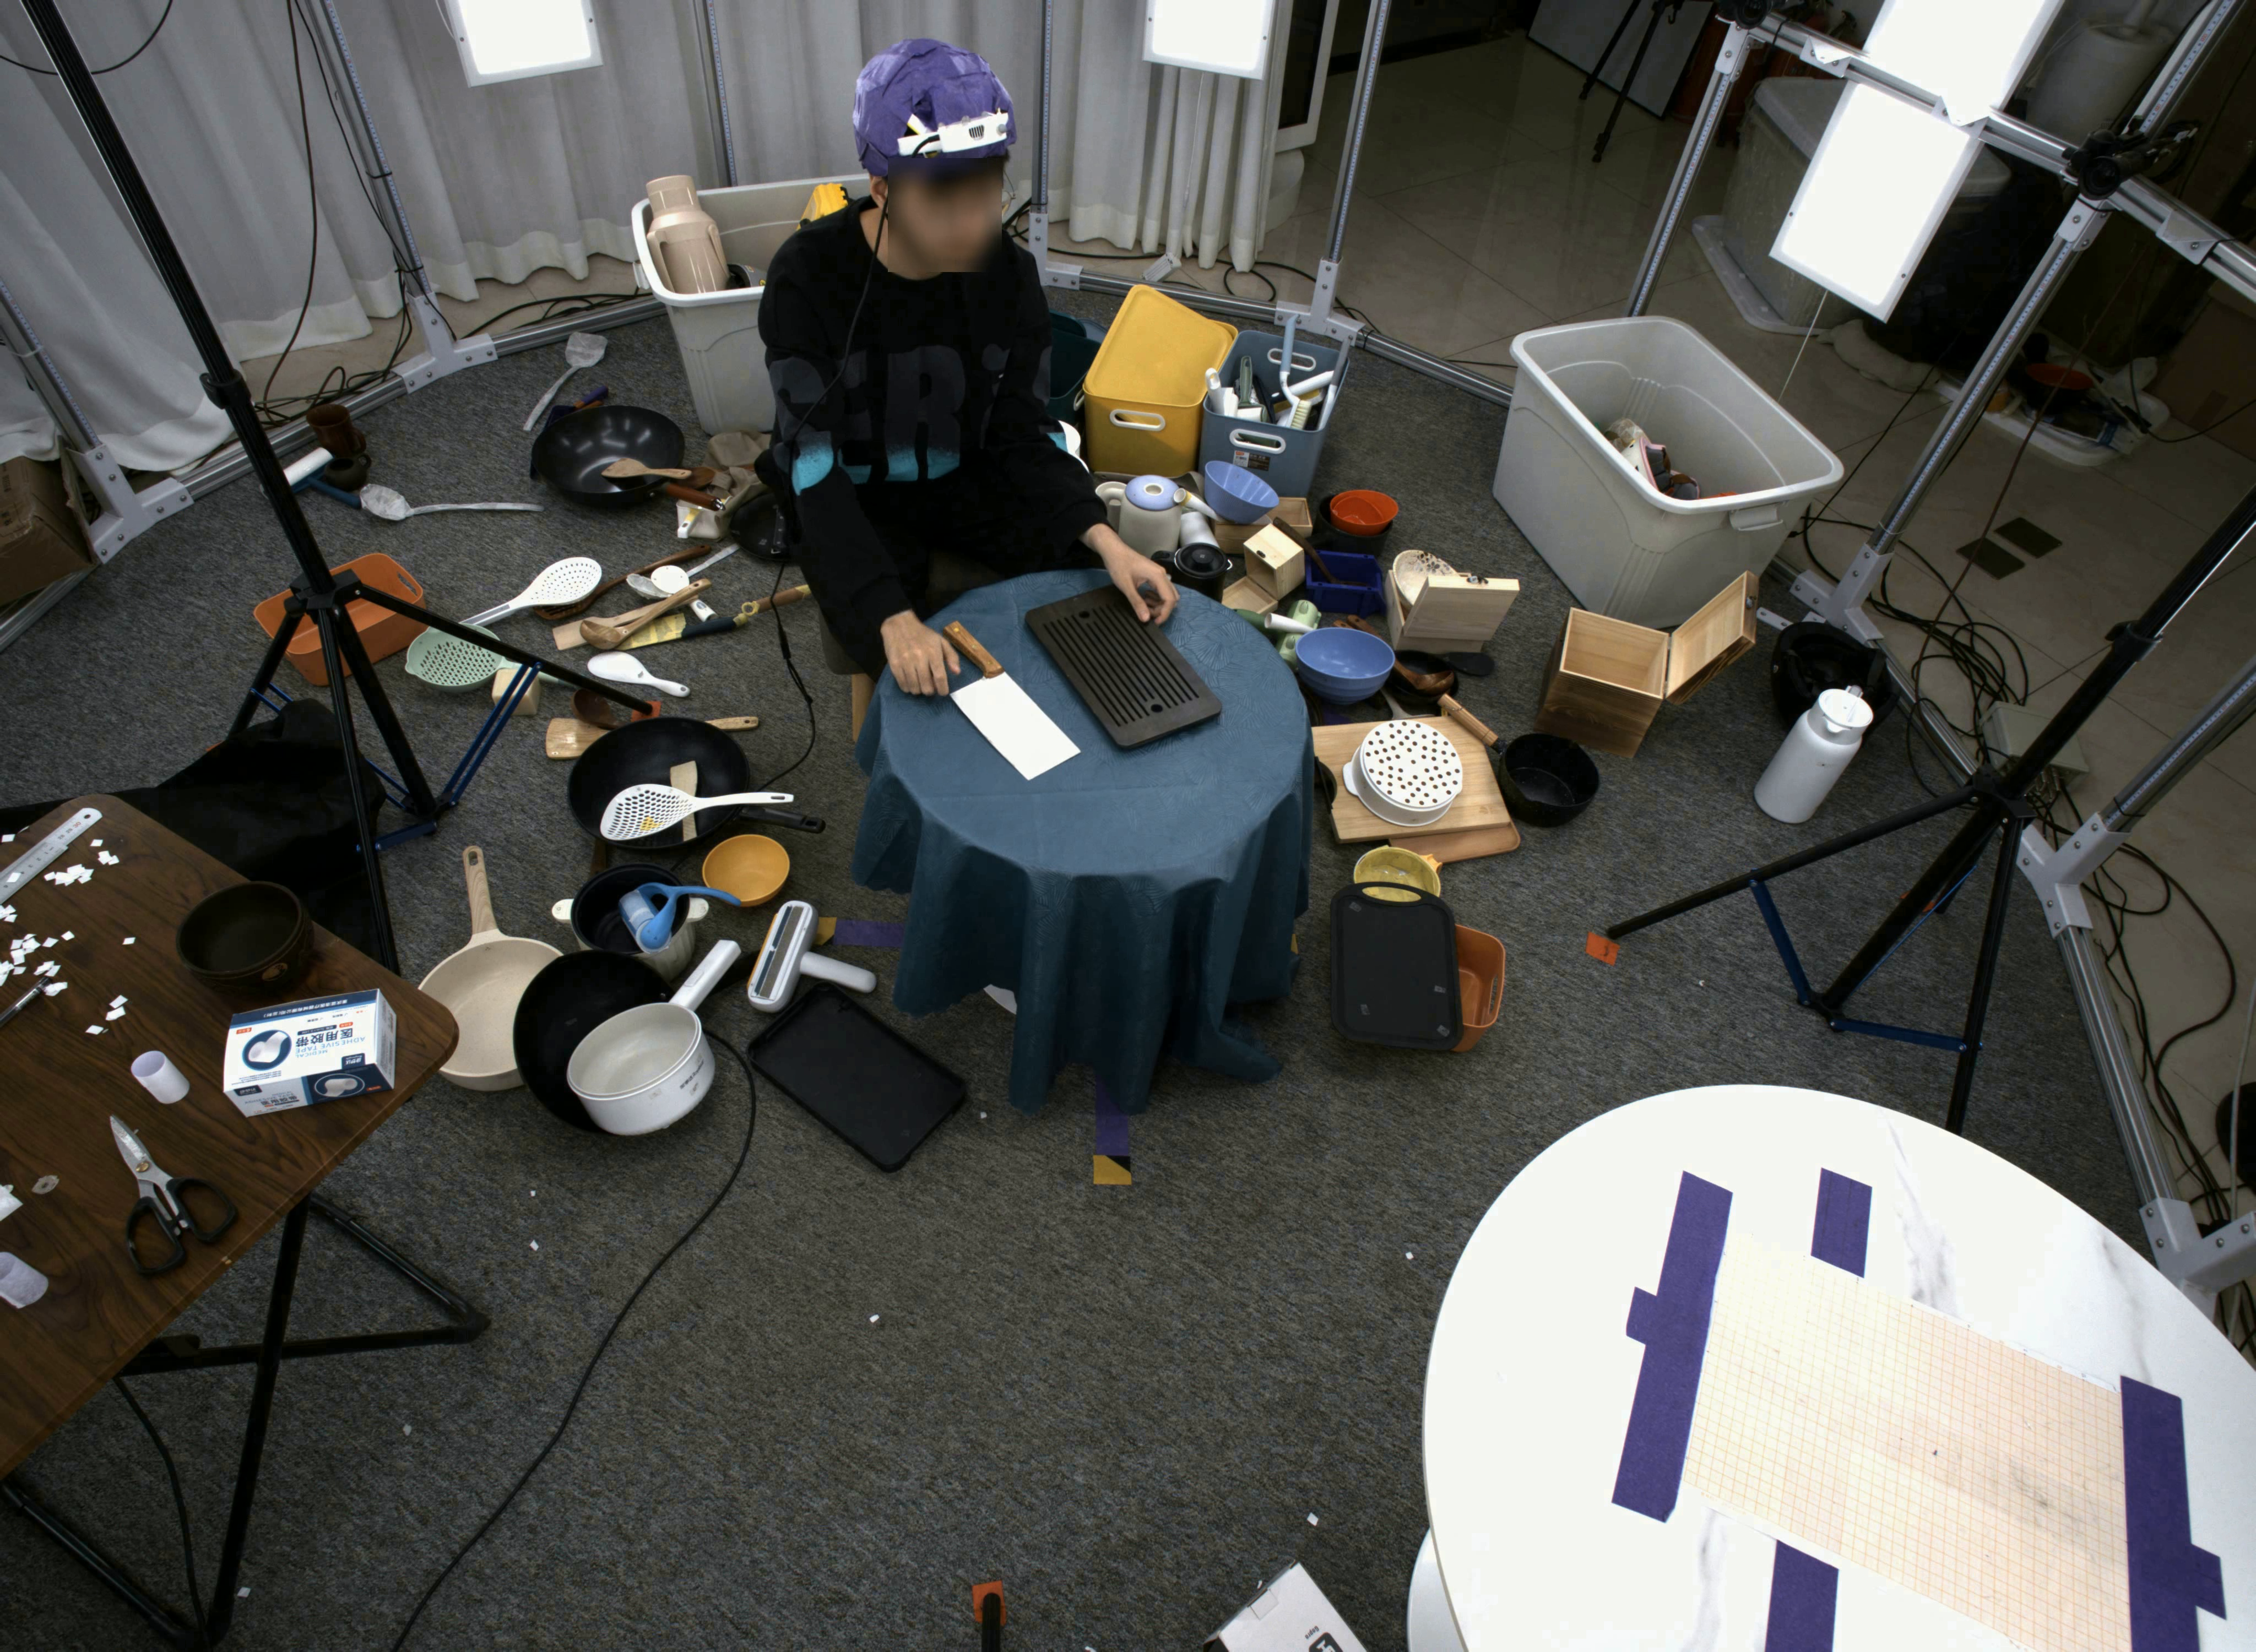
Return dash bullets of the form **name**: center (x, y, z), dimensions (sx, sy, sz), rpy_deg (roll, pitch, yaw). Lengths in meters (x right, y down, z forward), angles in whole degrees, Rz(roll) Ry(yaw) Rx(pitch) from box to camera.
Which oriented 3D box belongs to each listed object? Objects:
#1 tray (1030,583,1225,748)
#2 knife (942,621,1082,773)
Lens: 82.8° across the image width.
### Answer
- **tray**: center (-0.004, -0.237, 1.862), dimensions (0.170, 0.018, 0.312), rpy_deg (-20, 53, -20)
- **knife**: center (-0.187, -0.181, 1.803), dimensions (0.093, 0.020, 0.311), rpy_deg (-30, 59, -24)
